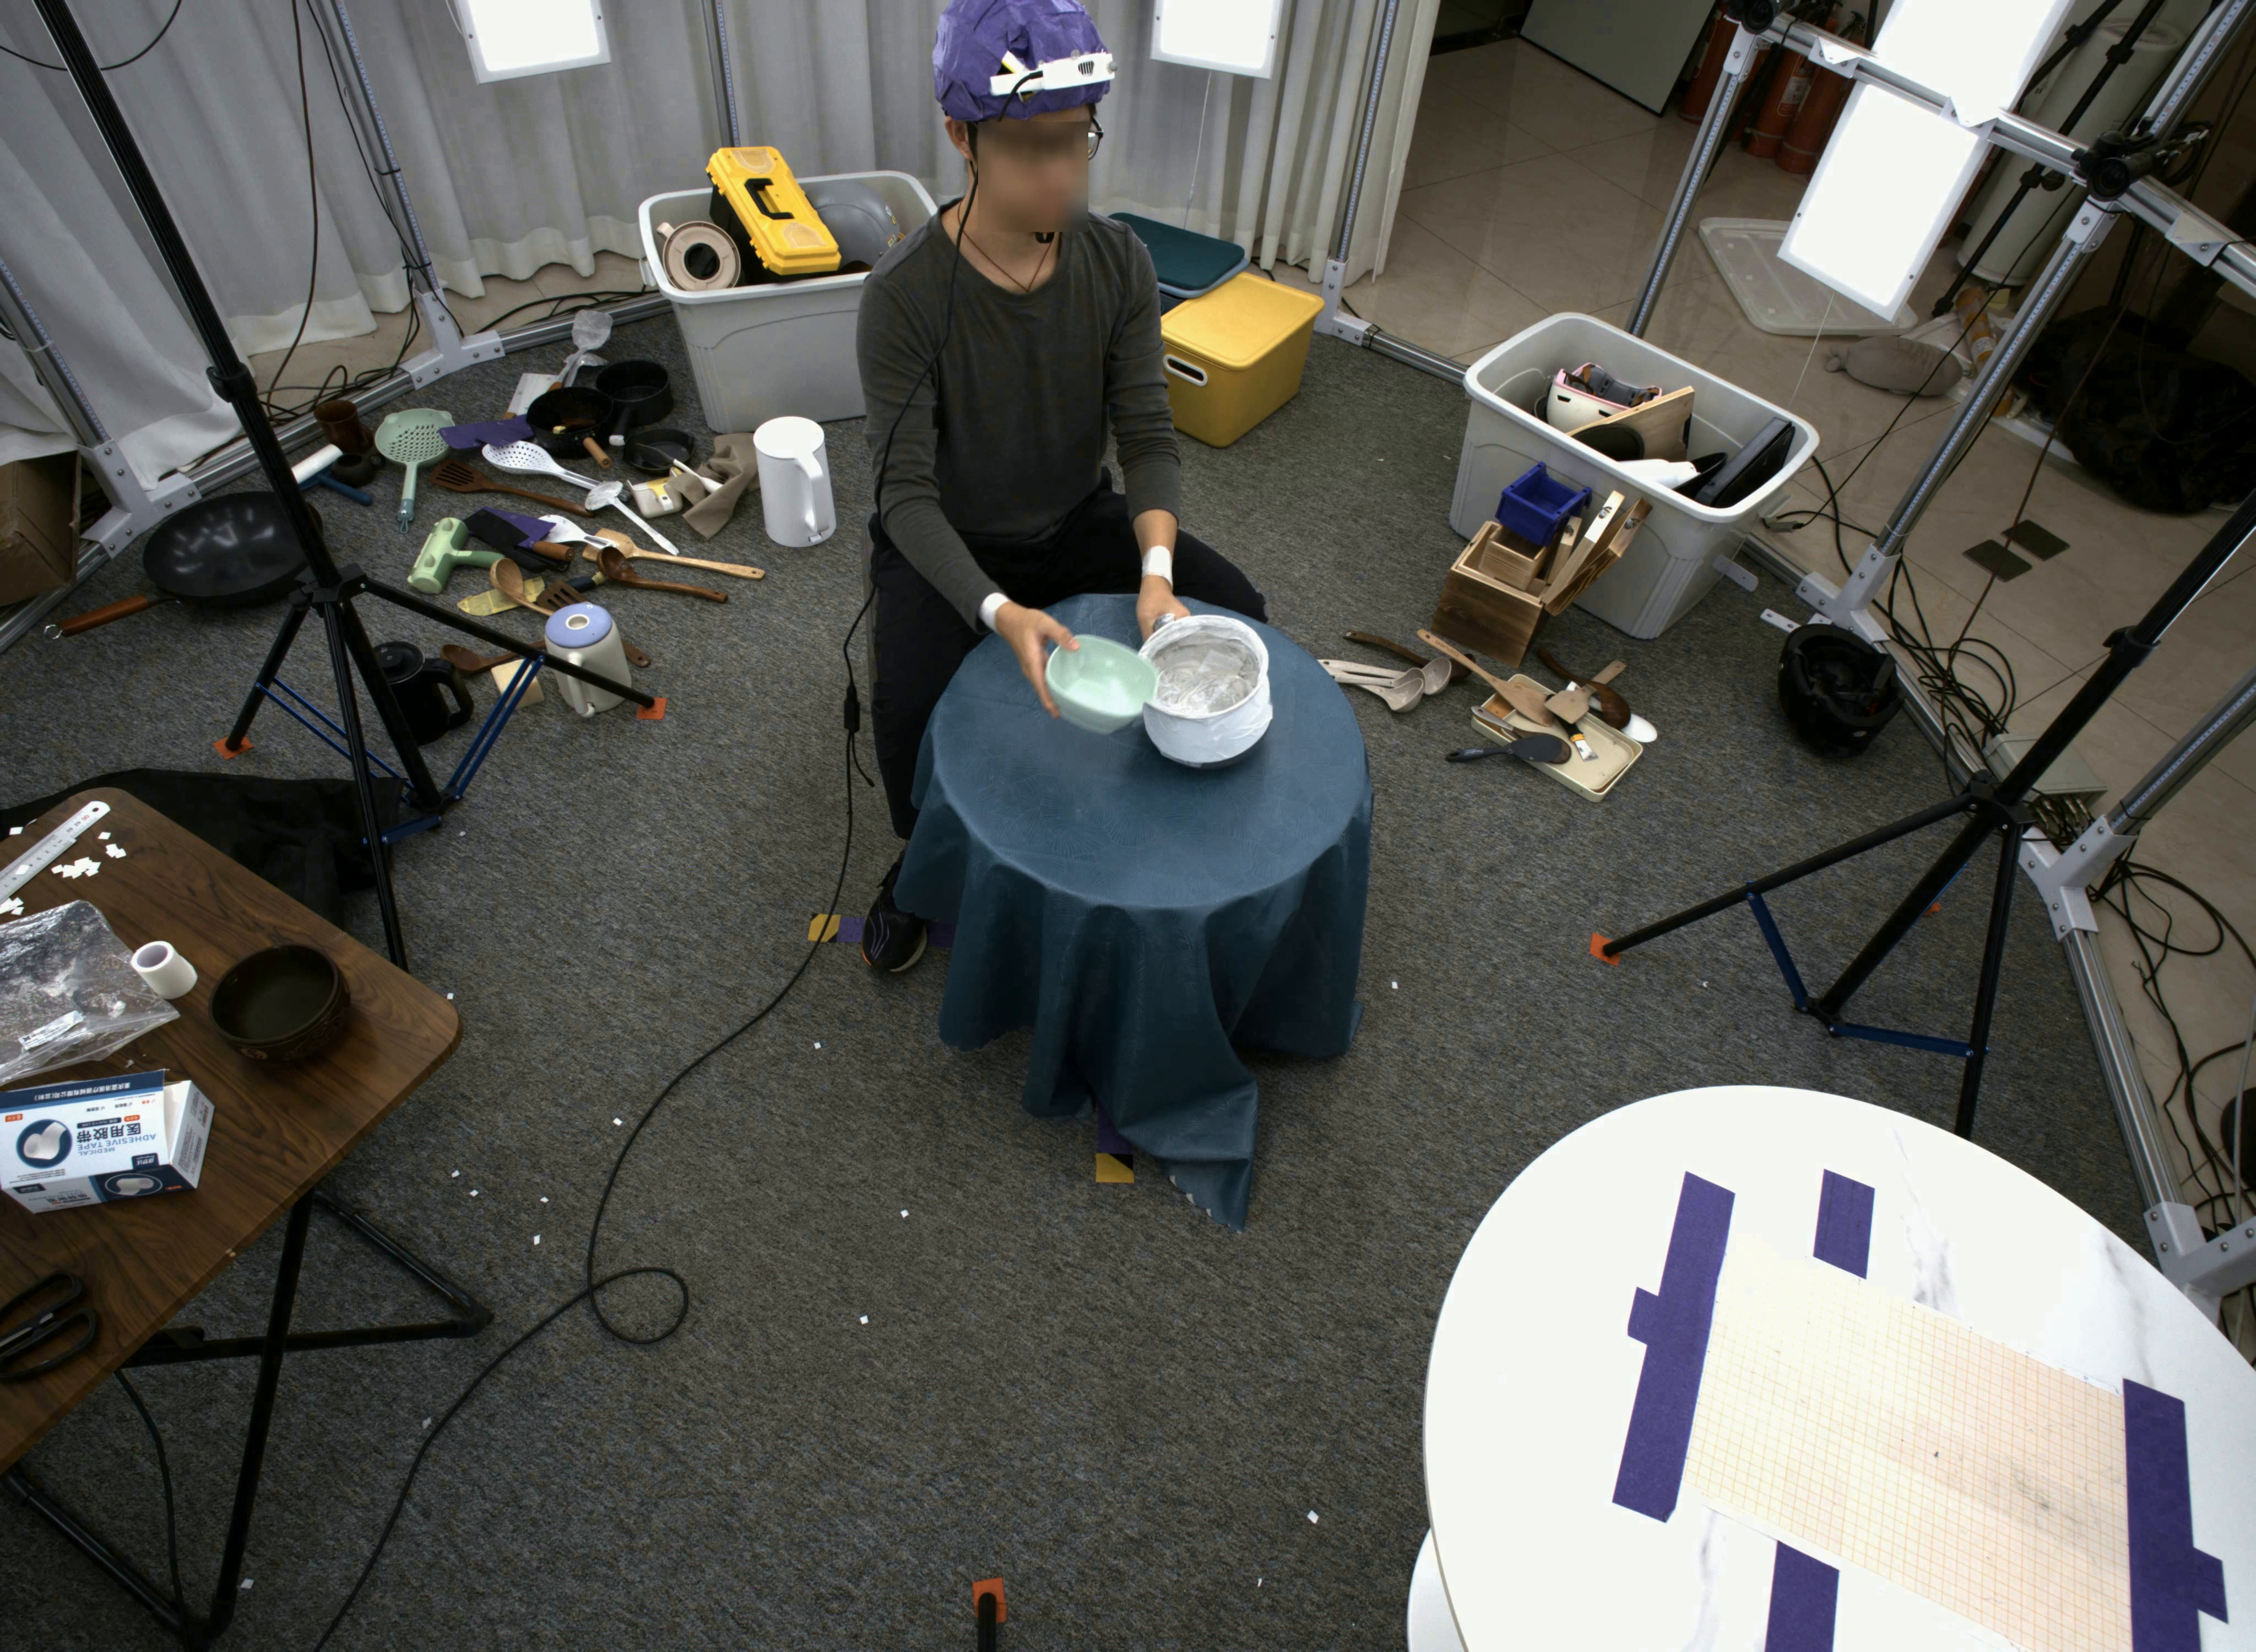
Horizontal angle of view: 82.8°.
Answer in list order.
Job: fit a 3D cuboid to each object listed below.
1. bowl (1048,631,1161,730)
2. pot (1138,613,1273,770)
[{"bbox_3d":[-0.035,-0.174,1.608,0.151,0.057,0.155,10,44,-10],"label":"bowl"},{"bbox_3d":[0.092,-0.195,1.739,0.179,0.133,0.239,-26,55,-8],"label":"pot"}]
